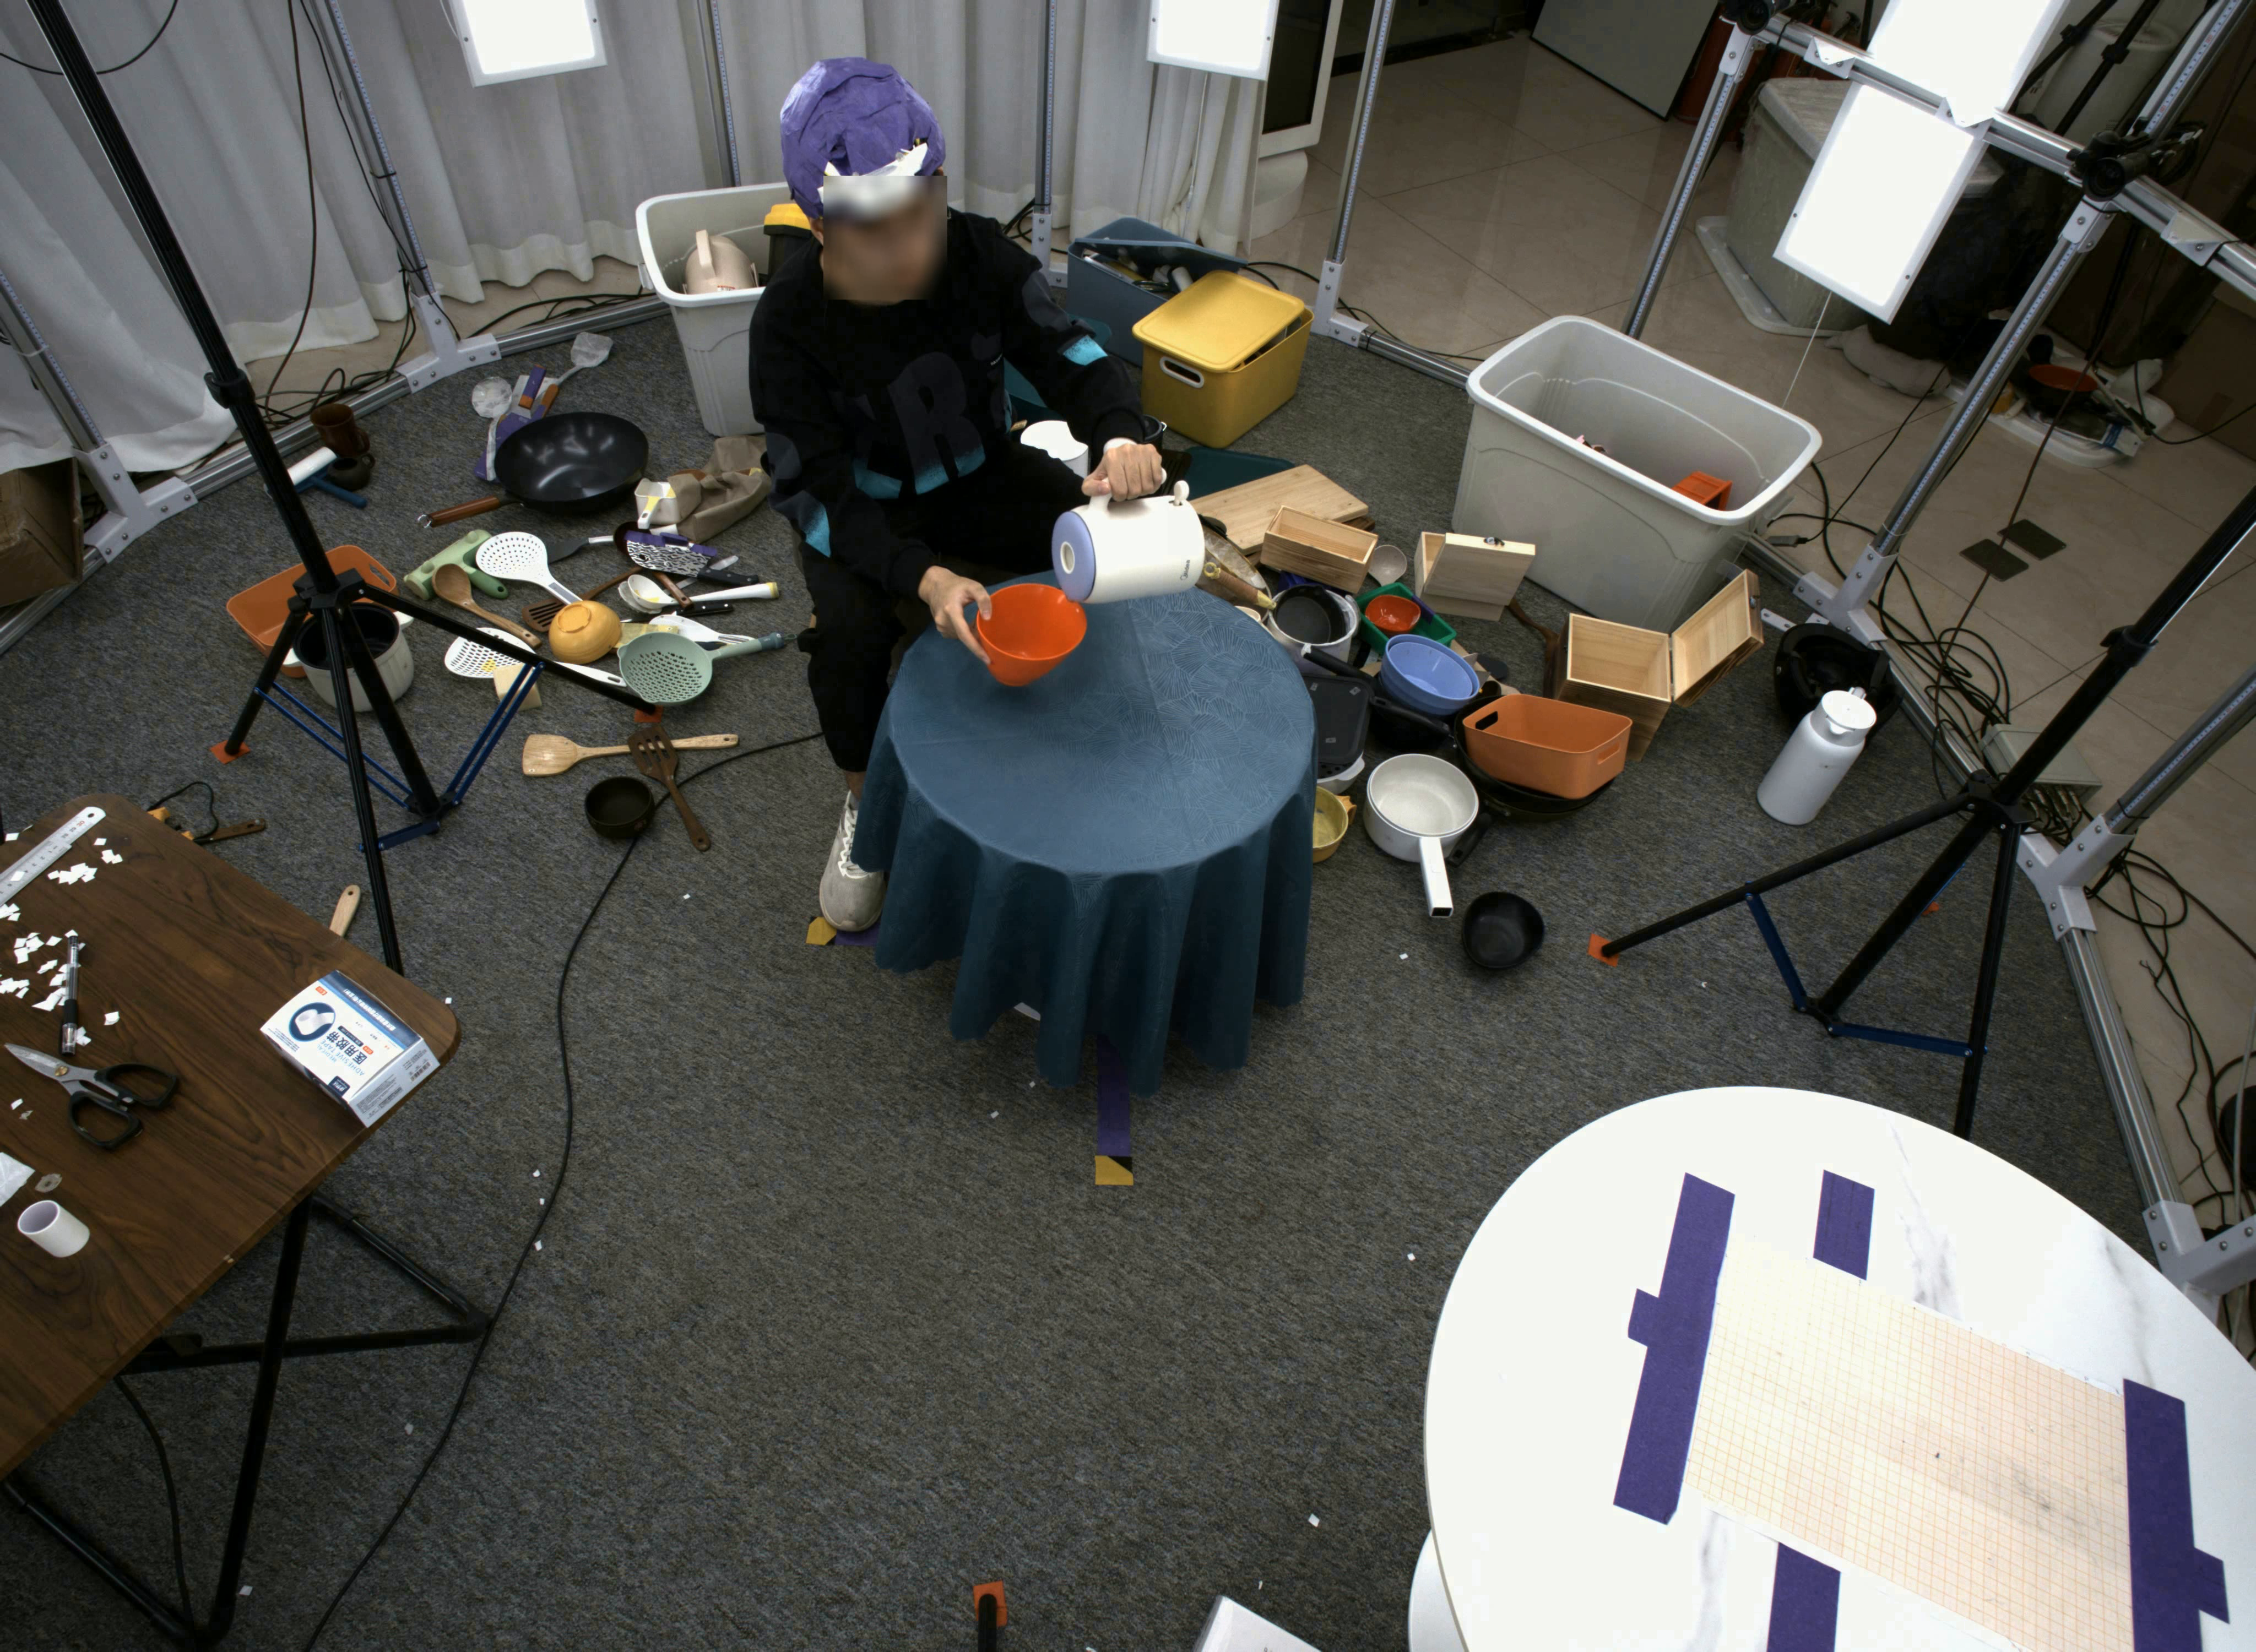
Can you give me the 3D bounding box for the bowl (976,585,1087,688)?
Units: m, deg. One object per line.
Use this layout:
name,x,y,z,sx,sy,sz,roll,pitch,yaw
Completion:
bowl,-0.139,-0.250,1.767,0.147,0.102,0.152,9,47,-10

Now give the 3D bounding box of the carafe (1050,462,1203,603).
carafe,0.002,-0.389,1.708,0.182,0.187,0.135,-11,42,-28
